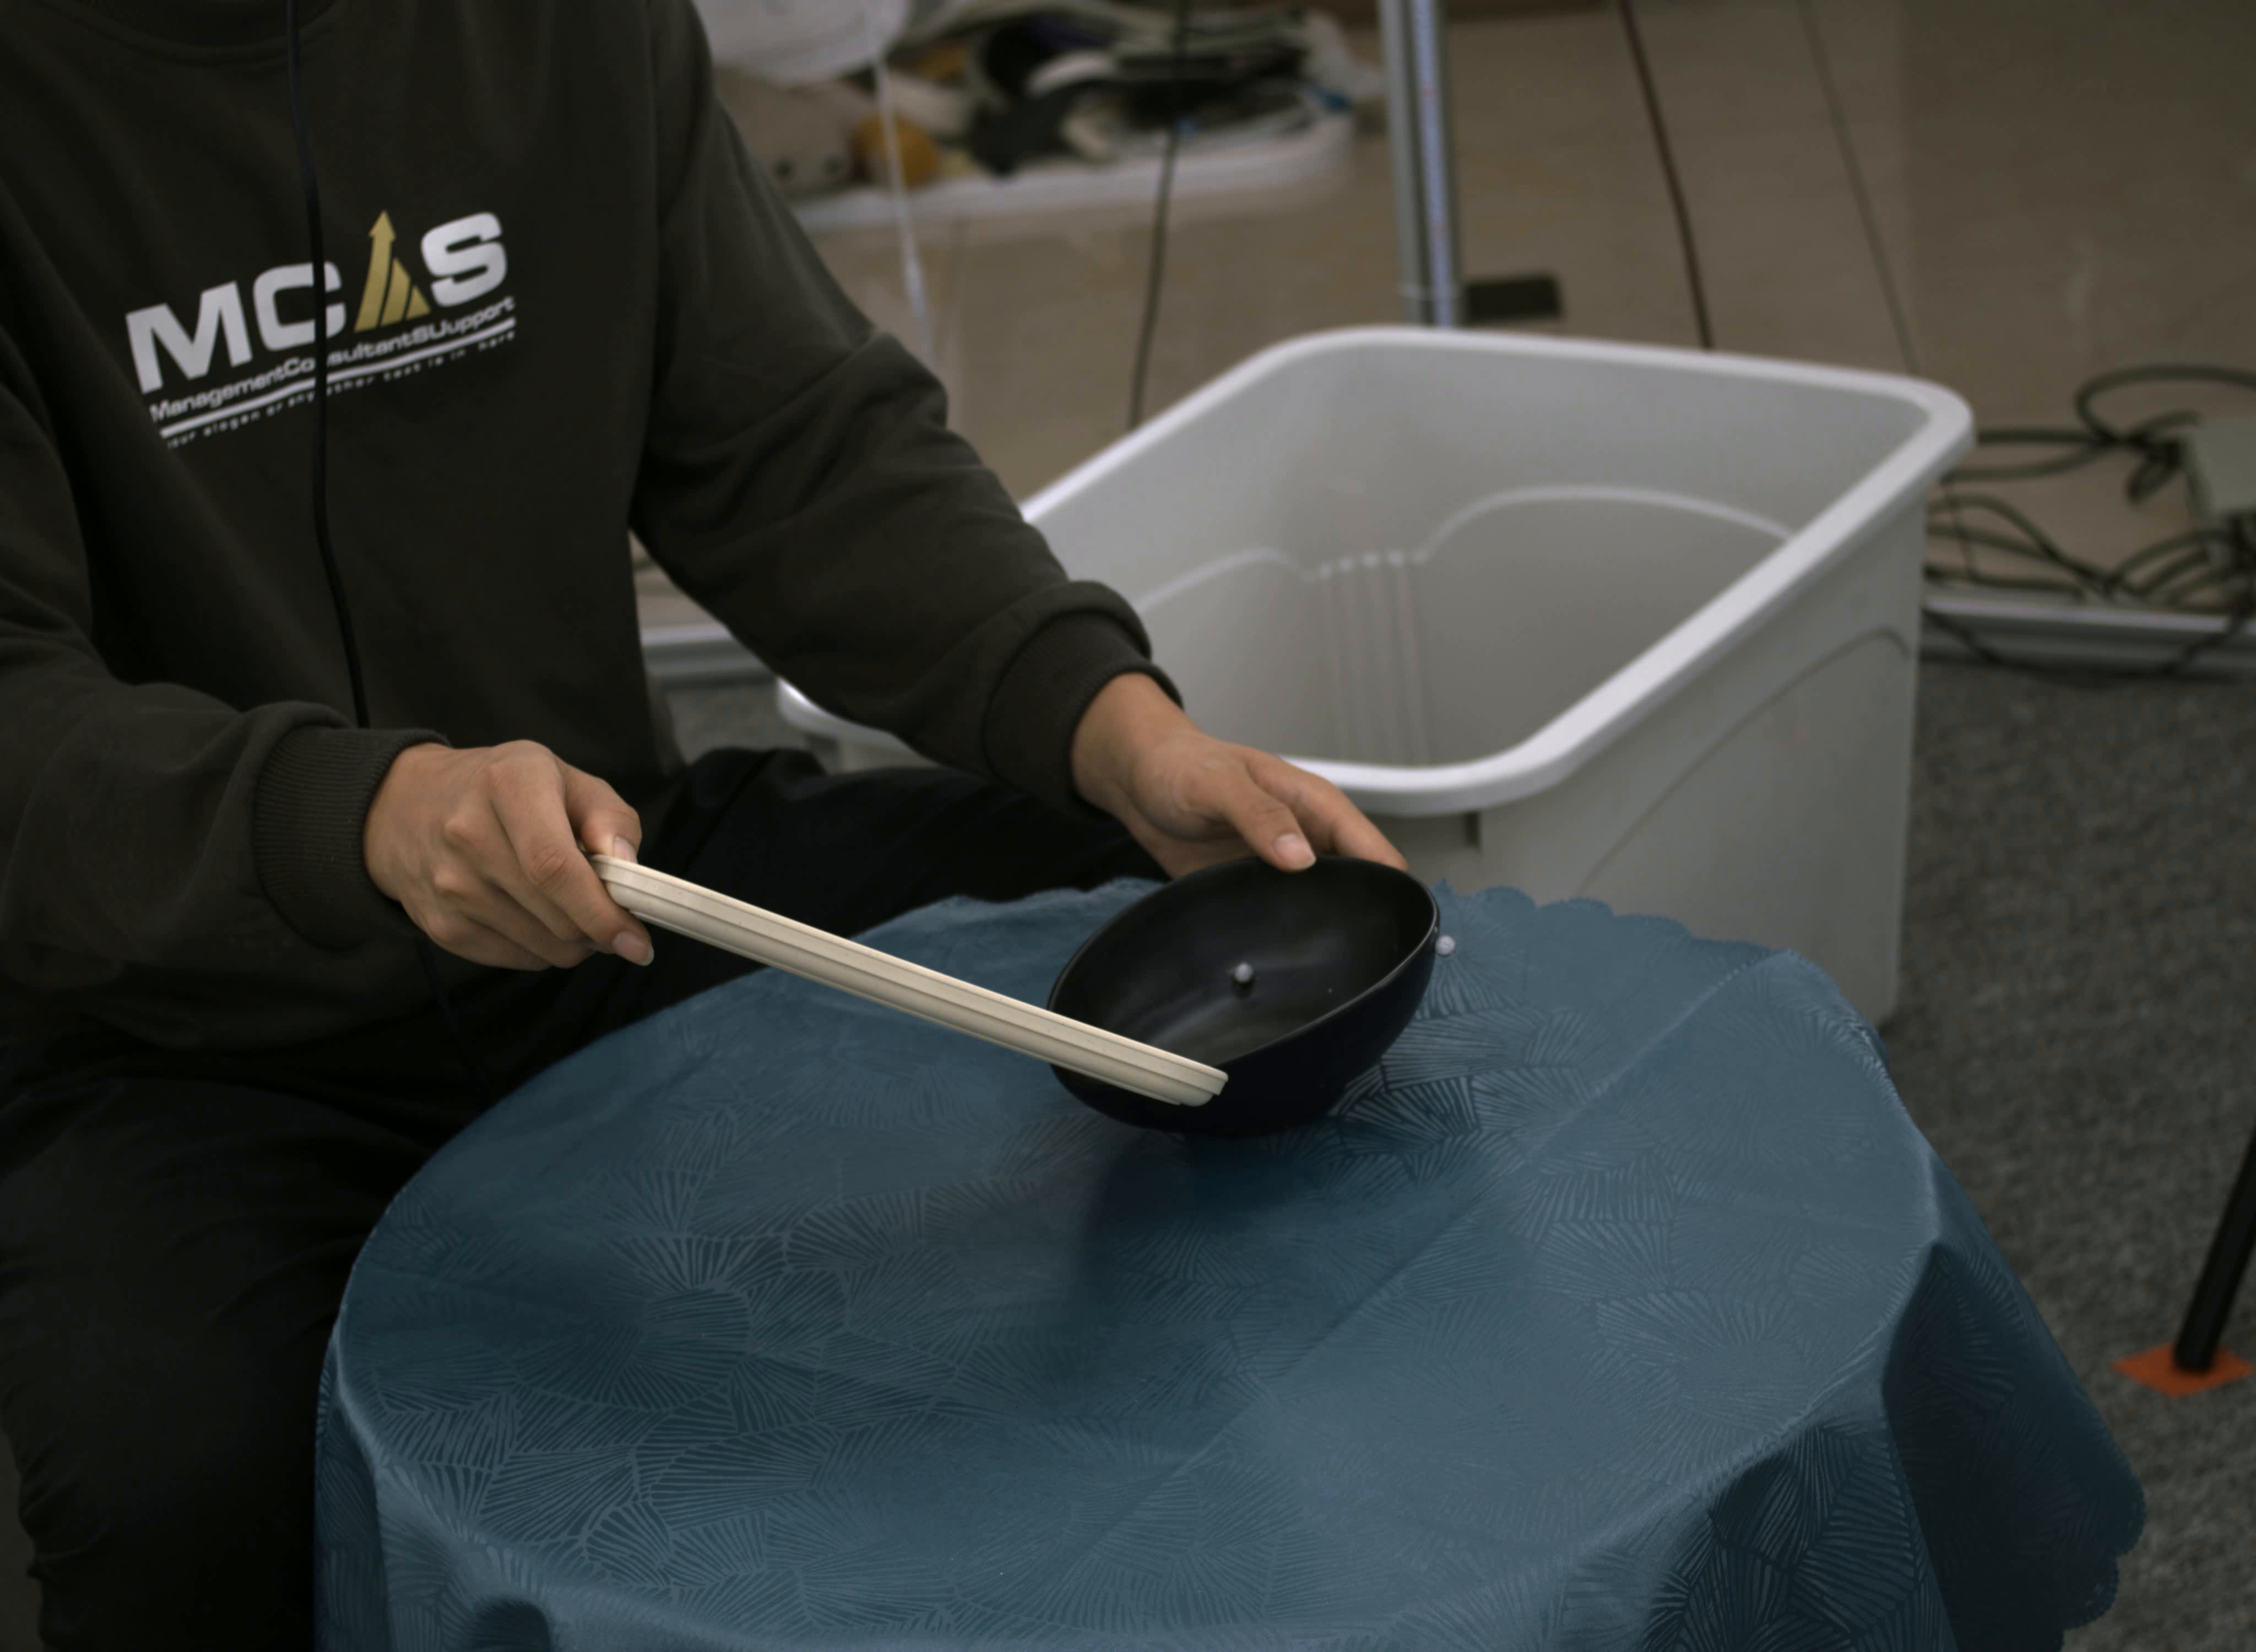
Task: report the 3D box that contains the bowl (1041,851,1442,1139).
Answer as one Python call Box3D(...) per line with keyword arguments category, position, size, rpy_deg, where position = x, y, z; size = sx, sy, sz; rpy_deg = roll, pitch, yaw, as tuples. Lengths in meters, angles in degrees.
Box3D(category="bowl", position=(0.049, 0.076, 2.189), size=(0.169, 0.068, 0.136), rpy_deg=(-31, 33, -27))

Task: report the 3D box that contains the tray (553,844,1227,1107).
Box3D(category="tray", position=(-0.090, 0.055, 2.058), size=(0.240, 0.017, 0.171), rpy_deg=(20, -3, -16))
